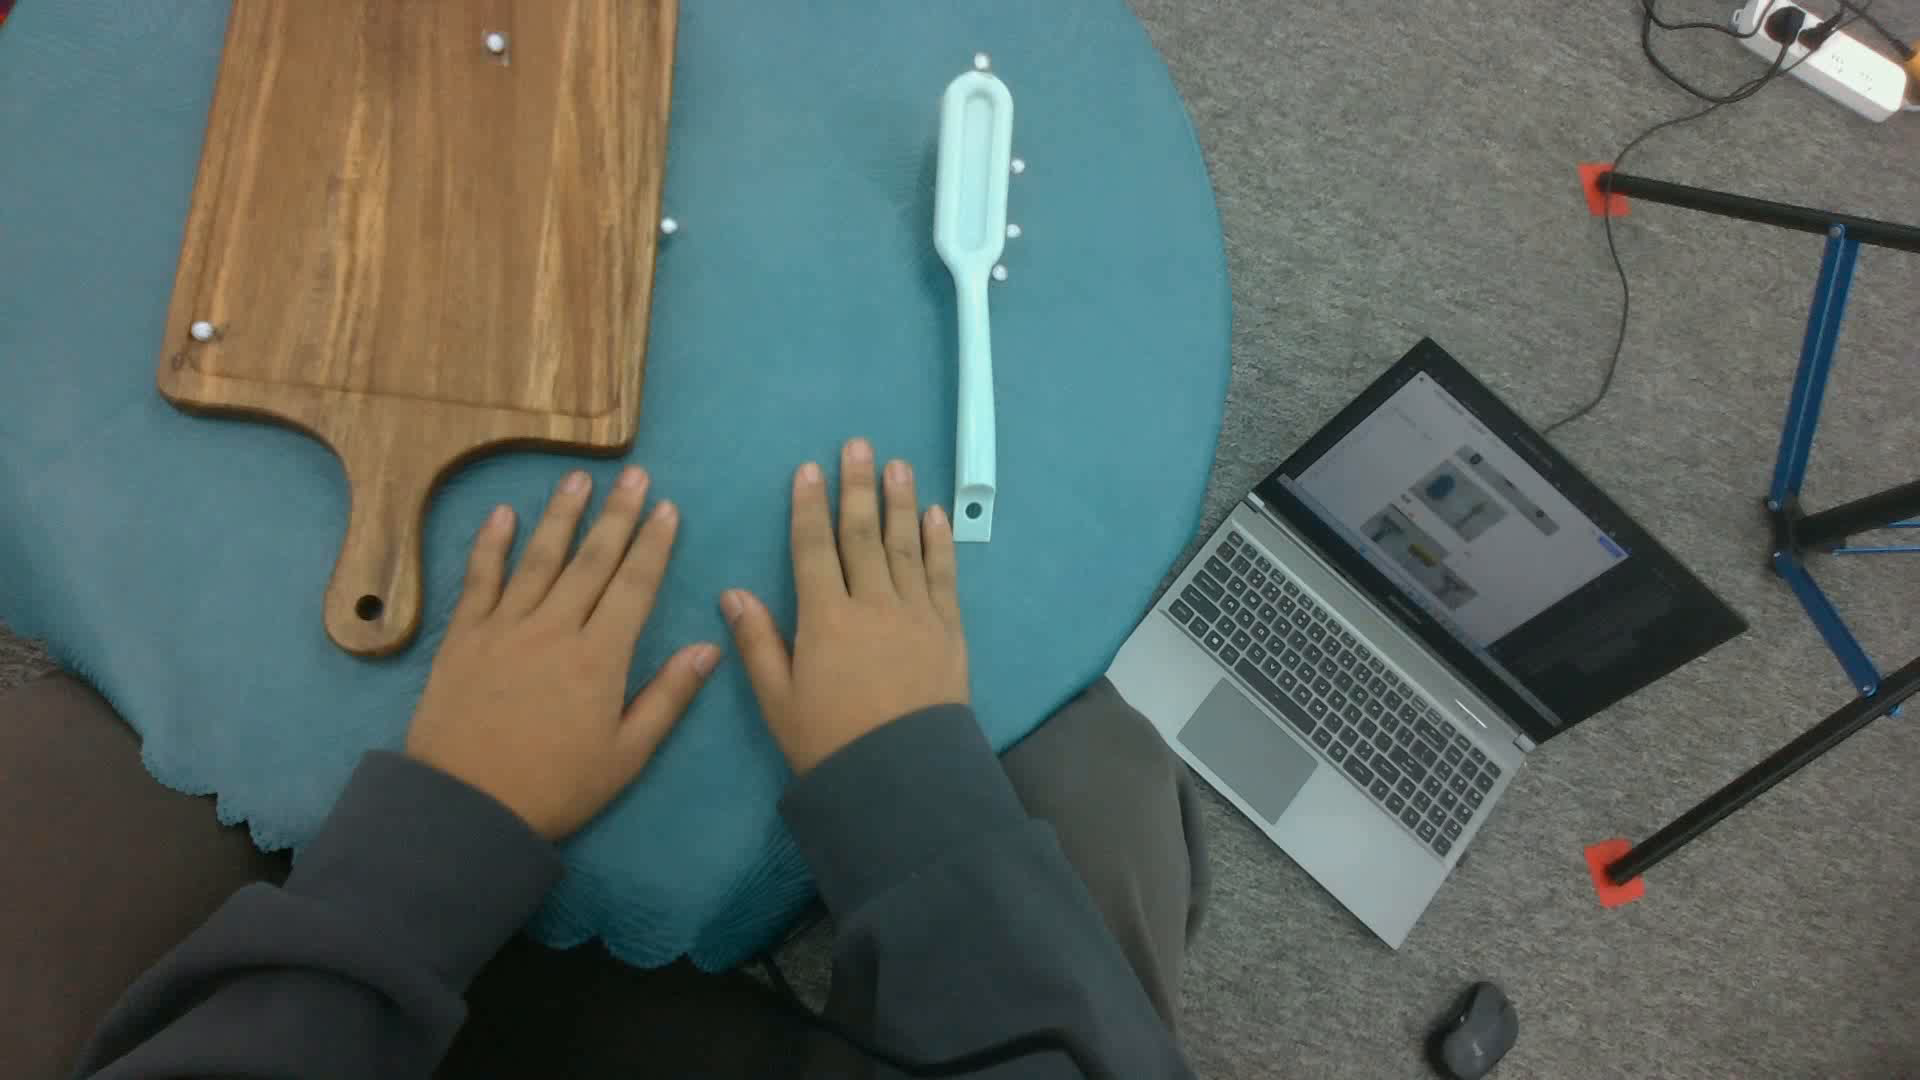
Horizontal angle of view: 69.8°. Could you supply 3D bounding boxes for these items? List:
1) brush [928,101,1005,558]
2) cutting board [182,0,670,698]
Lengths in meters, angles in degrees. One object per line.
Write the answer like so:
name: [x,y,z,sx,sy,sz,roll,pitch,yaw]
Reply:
brush: [0.006,-0.105,0.696,0.038,0.049,0.229,-3,84,-11]
cutting board: [-0.245,-0.102,0.644,0.201,0.023,0.353,4,74,-11]
